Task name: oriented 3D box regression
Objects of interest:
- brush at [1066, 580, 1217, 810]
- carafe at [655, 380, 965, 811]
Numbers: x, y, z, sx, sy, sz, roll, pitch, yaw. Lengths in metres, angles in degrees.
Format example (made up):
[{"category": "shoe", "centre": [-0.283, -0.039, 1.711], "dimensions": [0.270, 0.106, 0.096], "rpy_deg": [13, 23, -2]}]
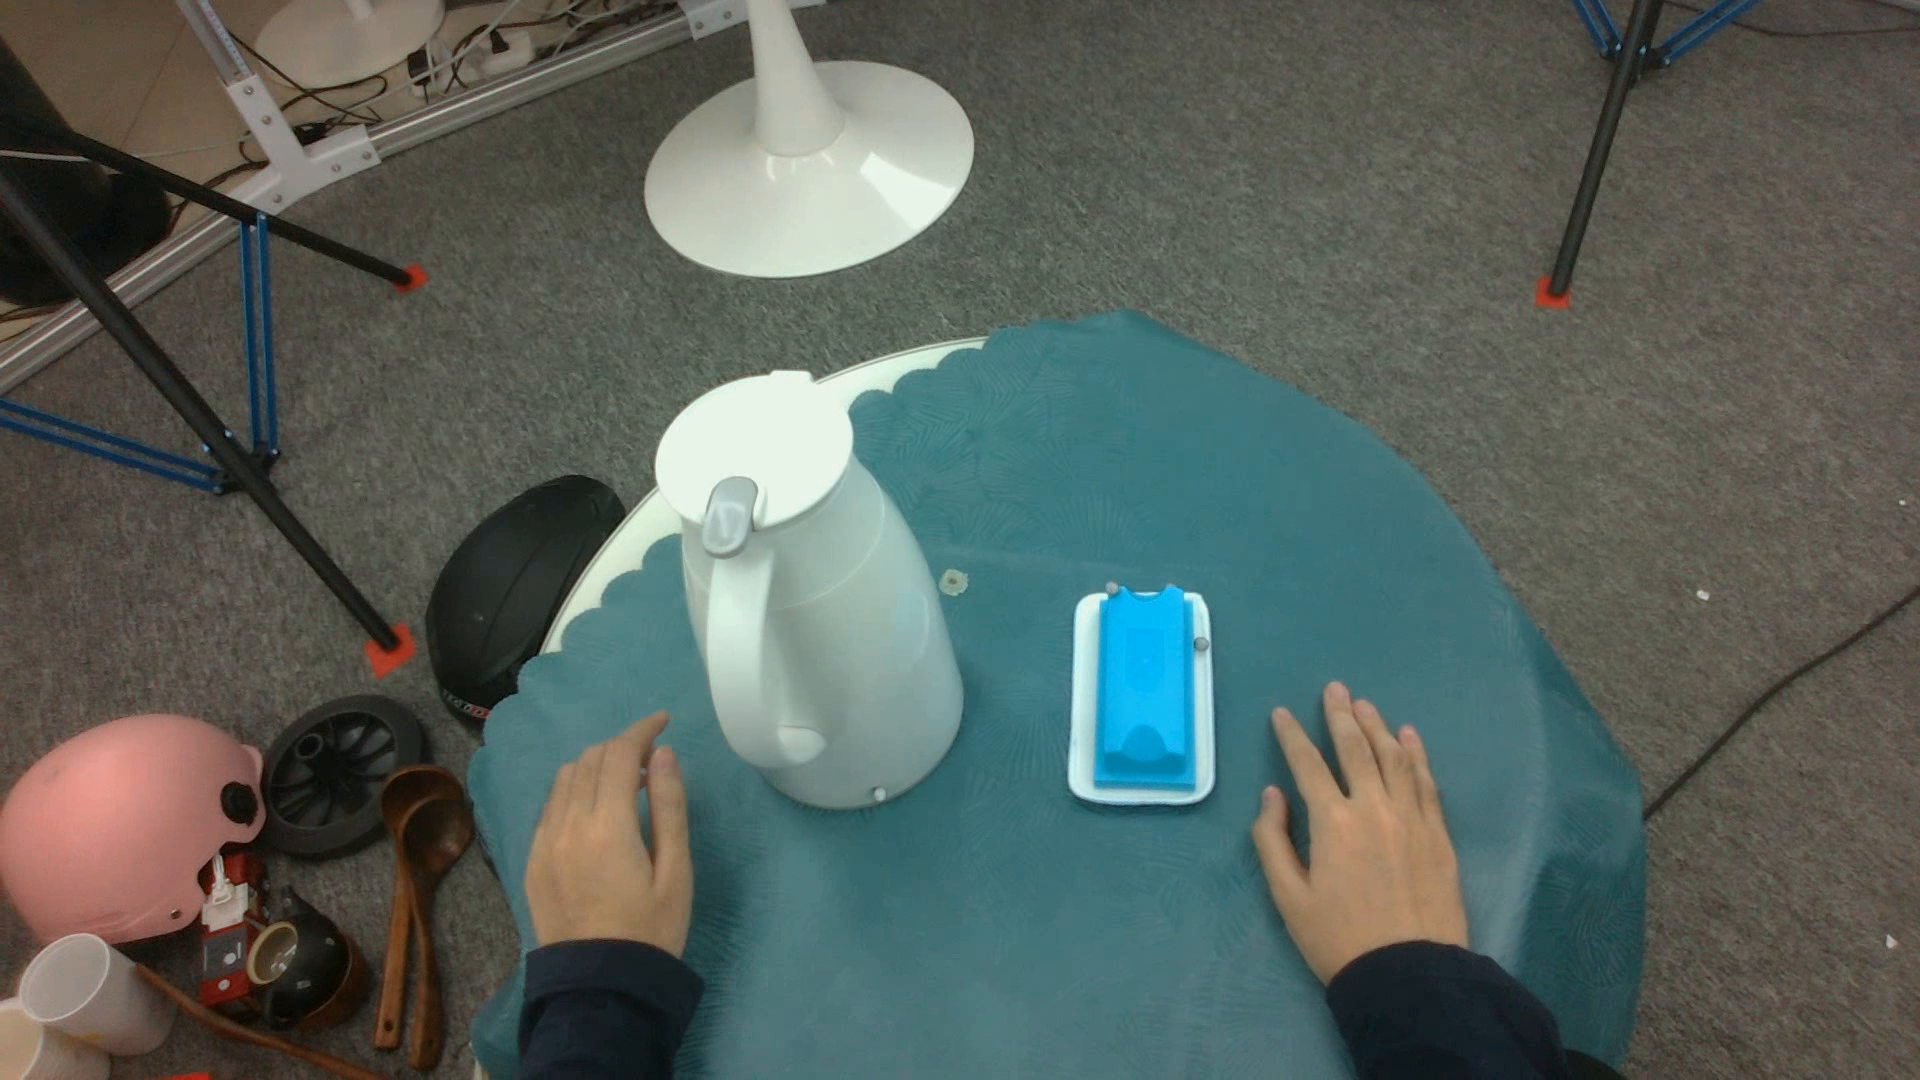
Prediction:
[{"category": "brush", "centre": [0.102, 0.080, 0.778], "dimensions": [0.084, 0.055, 0.144], "rpy_deg": [-2, 51, 13]}, {"category": "carafe", "centre": [-0.080, 0.046, 0.717], "dimensions": [0.132, 0.247, 0.168], "rpy_deg": [-1, 54, 9]}]
